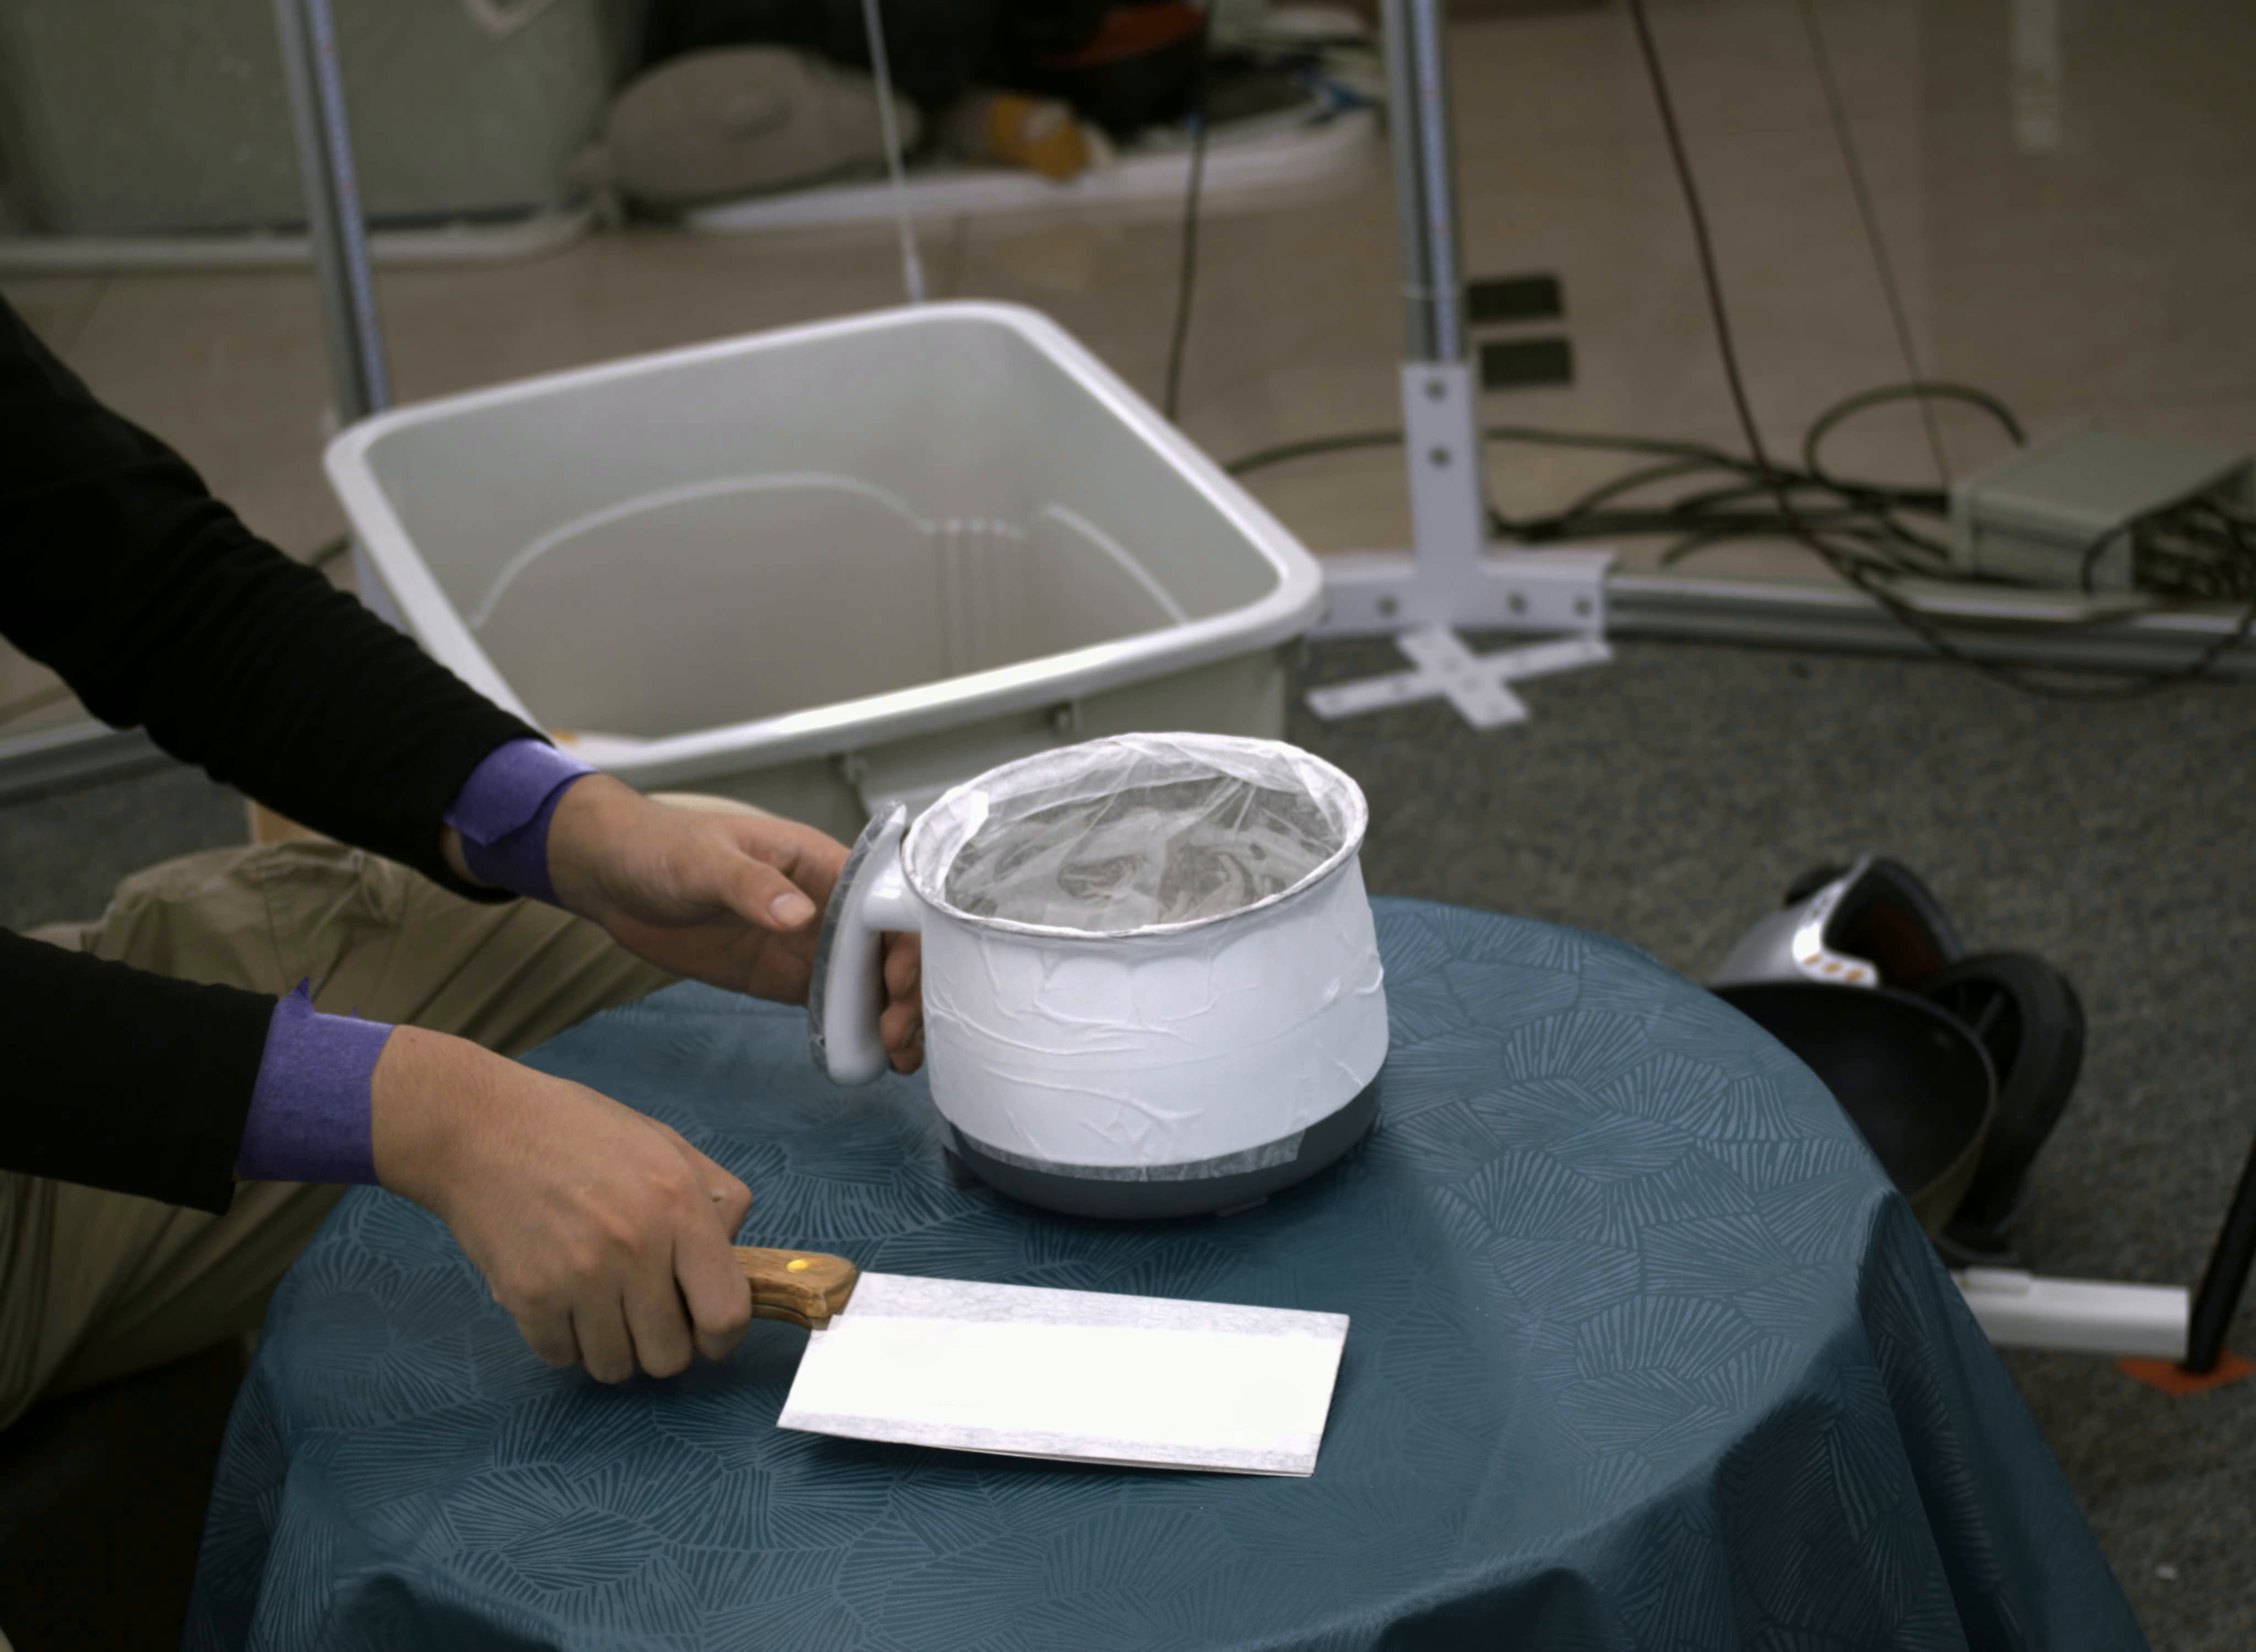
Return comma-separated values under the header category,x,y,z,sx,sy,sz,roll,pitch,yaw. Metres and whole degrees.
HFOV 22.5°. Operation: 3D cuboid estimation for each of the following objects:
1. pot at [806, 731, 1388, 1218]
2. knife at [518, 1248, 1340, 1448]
category,x,y,z,sx,sy,sz,roll,pitch,yaw
pot,-0.017,0.056,2.163,0.233,0.139,0.176,5,27,20
knife,-0.077,0.188,2.017,0.305,0.021,0.091,4,32,11
